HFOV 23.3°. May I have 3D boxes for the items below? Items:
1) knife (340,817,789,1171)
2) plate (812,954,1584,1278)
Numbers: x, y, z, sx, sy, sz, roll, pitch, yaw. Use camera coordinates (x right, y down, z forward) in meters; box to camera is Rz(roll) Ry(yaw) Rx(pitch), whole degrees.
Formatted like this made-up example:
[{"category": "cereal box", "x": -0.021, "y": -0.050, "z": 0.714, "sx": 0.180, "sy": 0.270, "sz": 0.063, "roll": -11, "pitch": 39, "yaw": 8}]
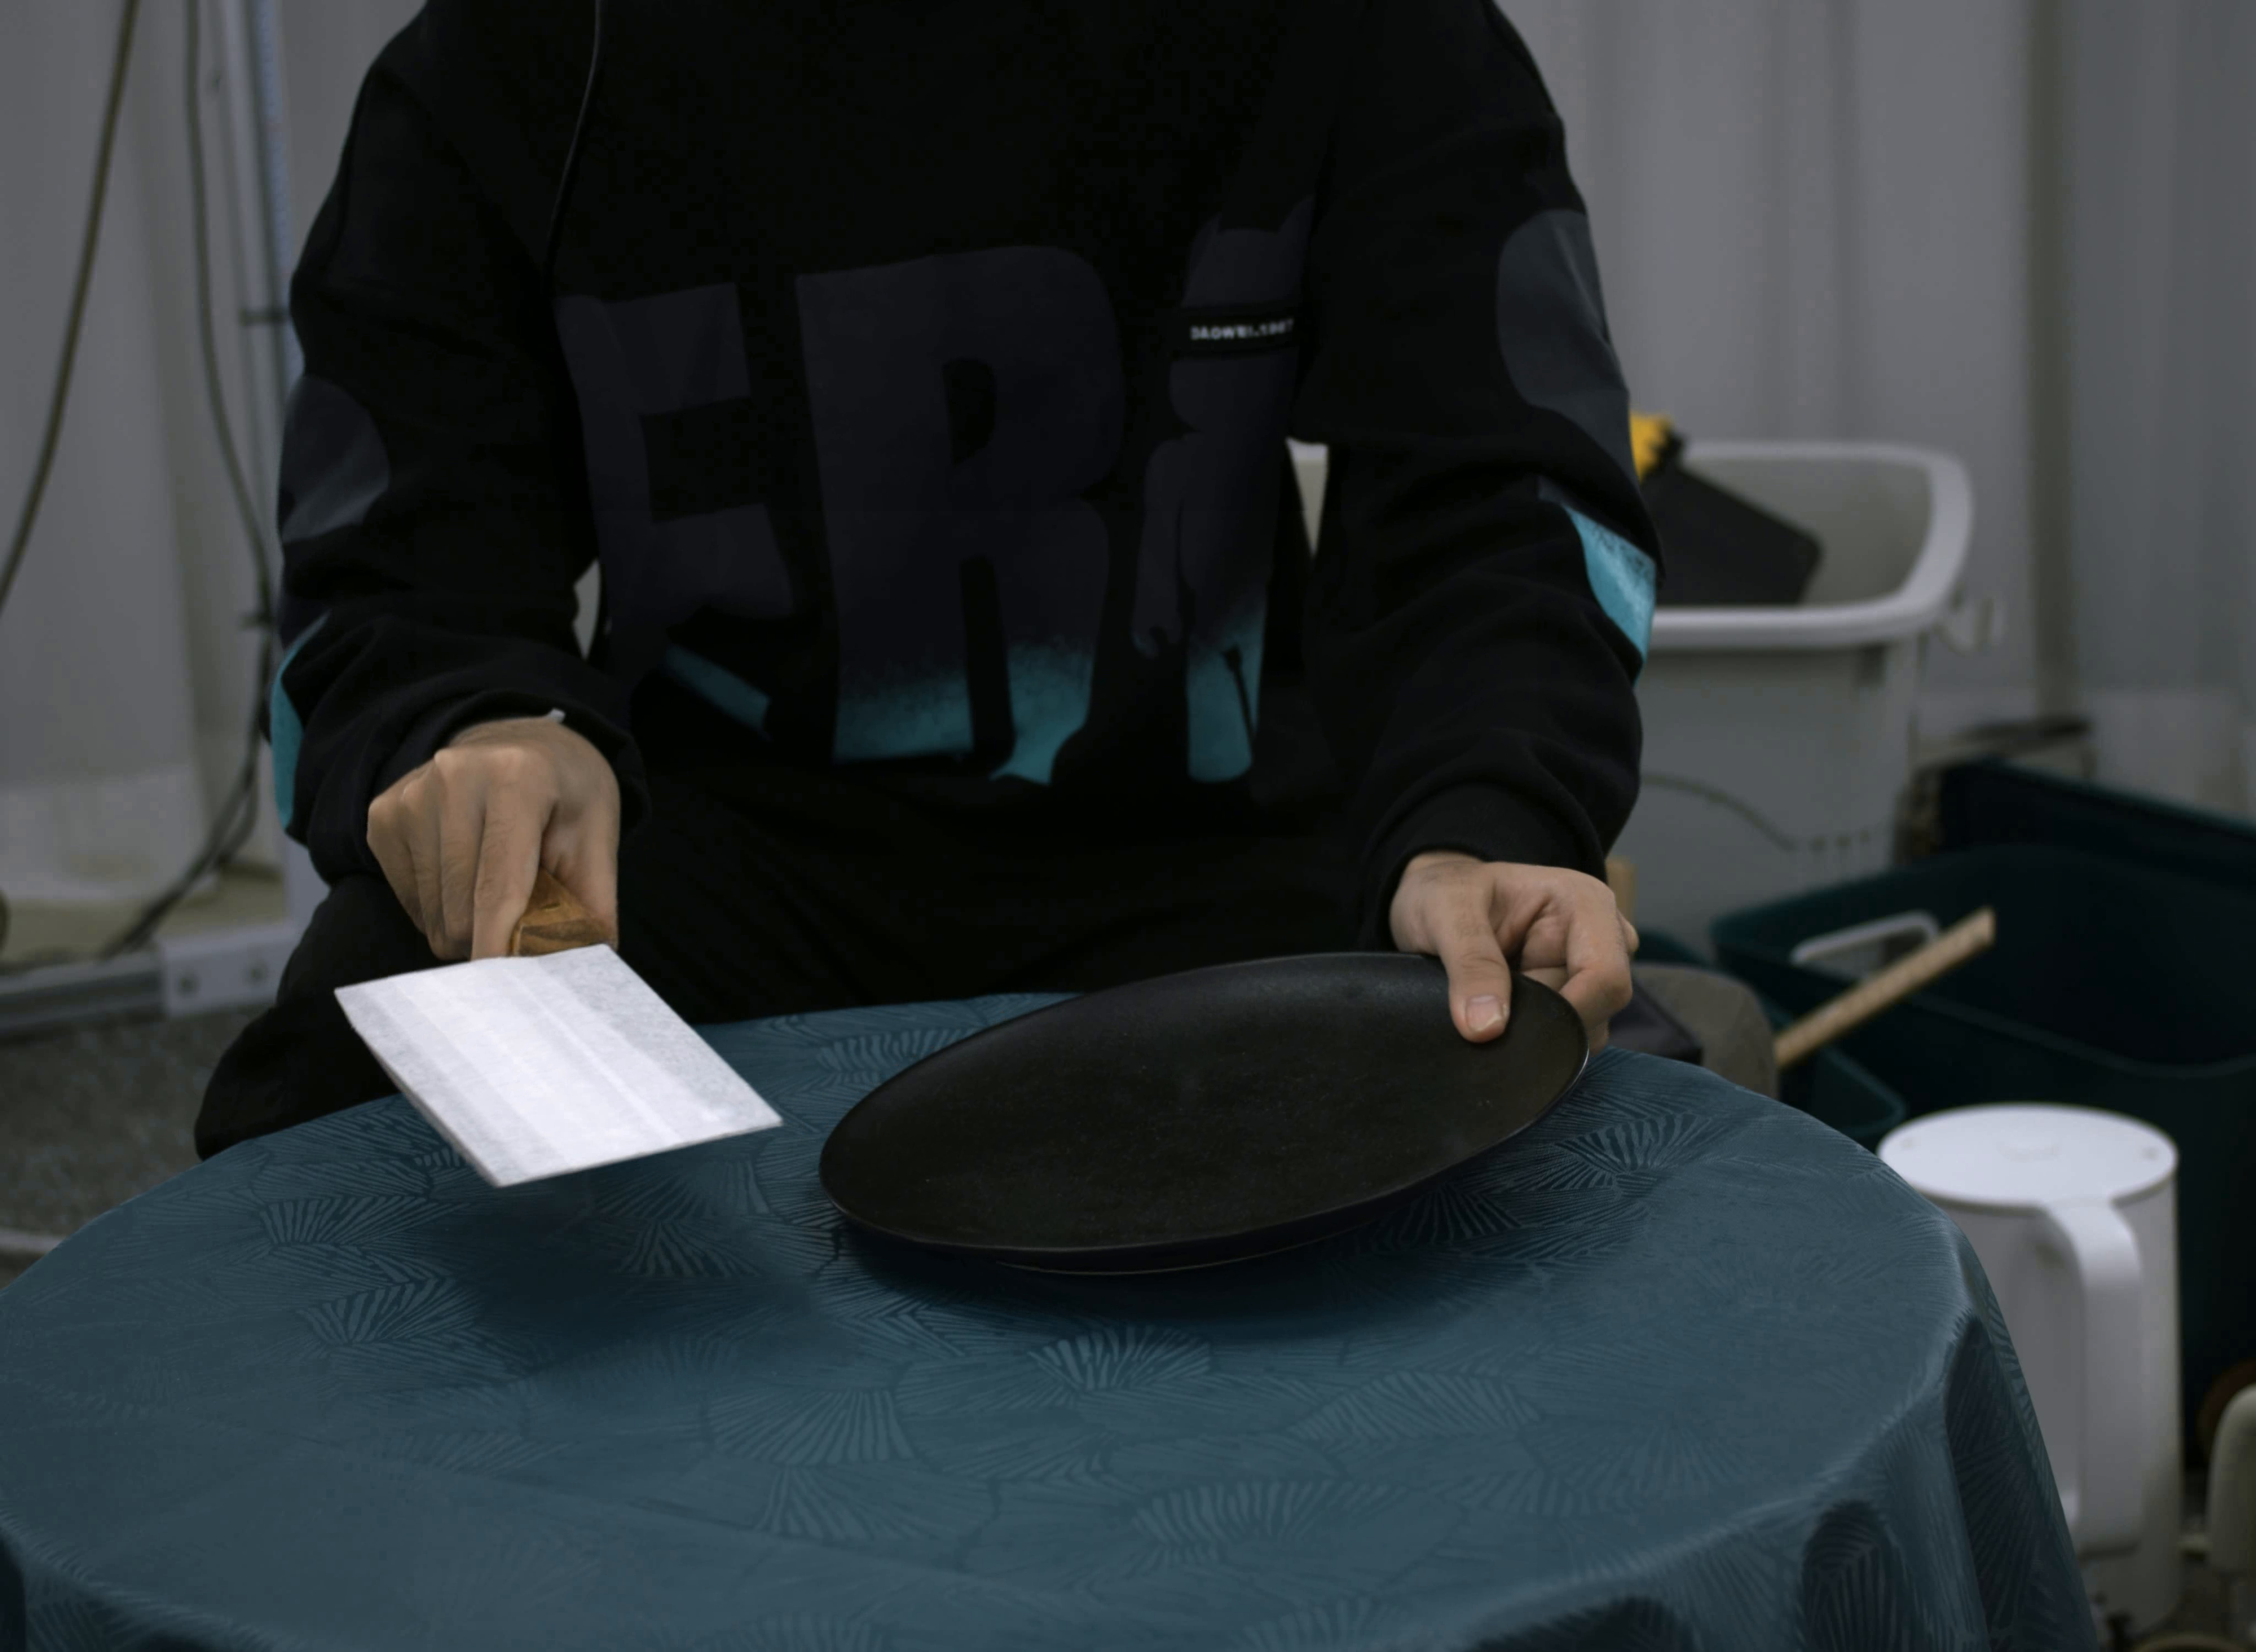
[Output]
[{"category": "knife", "x": -0.197, "y": 0.053, "z": 1.736, "sx": 0.092, "sy": 0.021, "sz": 0.308, "roll": -11, "pitch": 20, "yaw": -20}, {"category": "plate", "x": 0.023, "y": 0.093, "z": 1.702, "sx": 0.243, "sy": 0.023, "sz": 0.246, "roll": -10, "pitch": 17, "yaw": 3}]
